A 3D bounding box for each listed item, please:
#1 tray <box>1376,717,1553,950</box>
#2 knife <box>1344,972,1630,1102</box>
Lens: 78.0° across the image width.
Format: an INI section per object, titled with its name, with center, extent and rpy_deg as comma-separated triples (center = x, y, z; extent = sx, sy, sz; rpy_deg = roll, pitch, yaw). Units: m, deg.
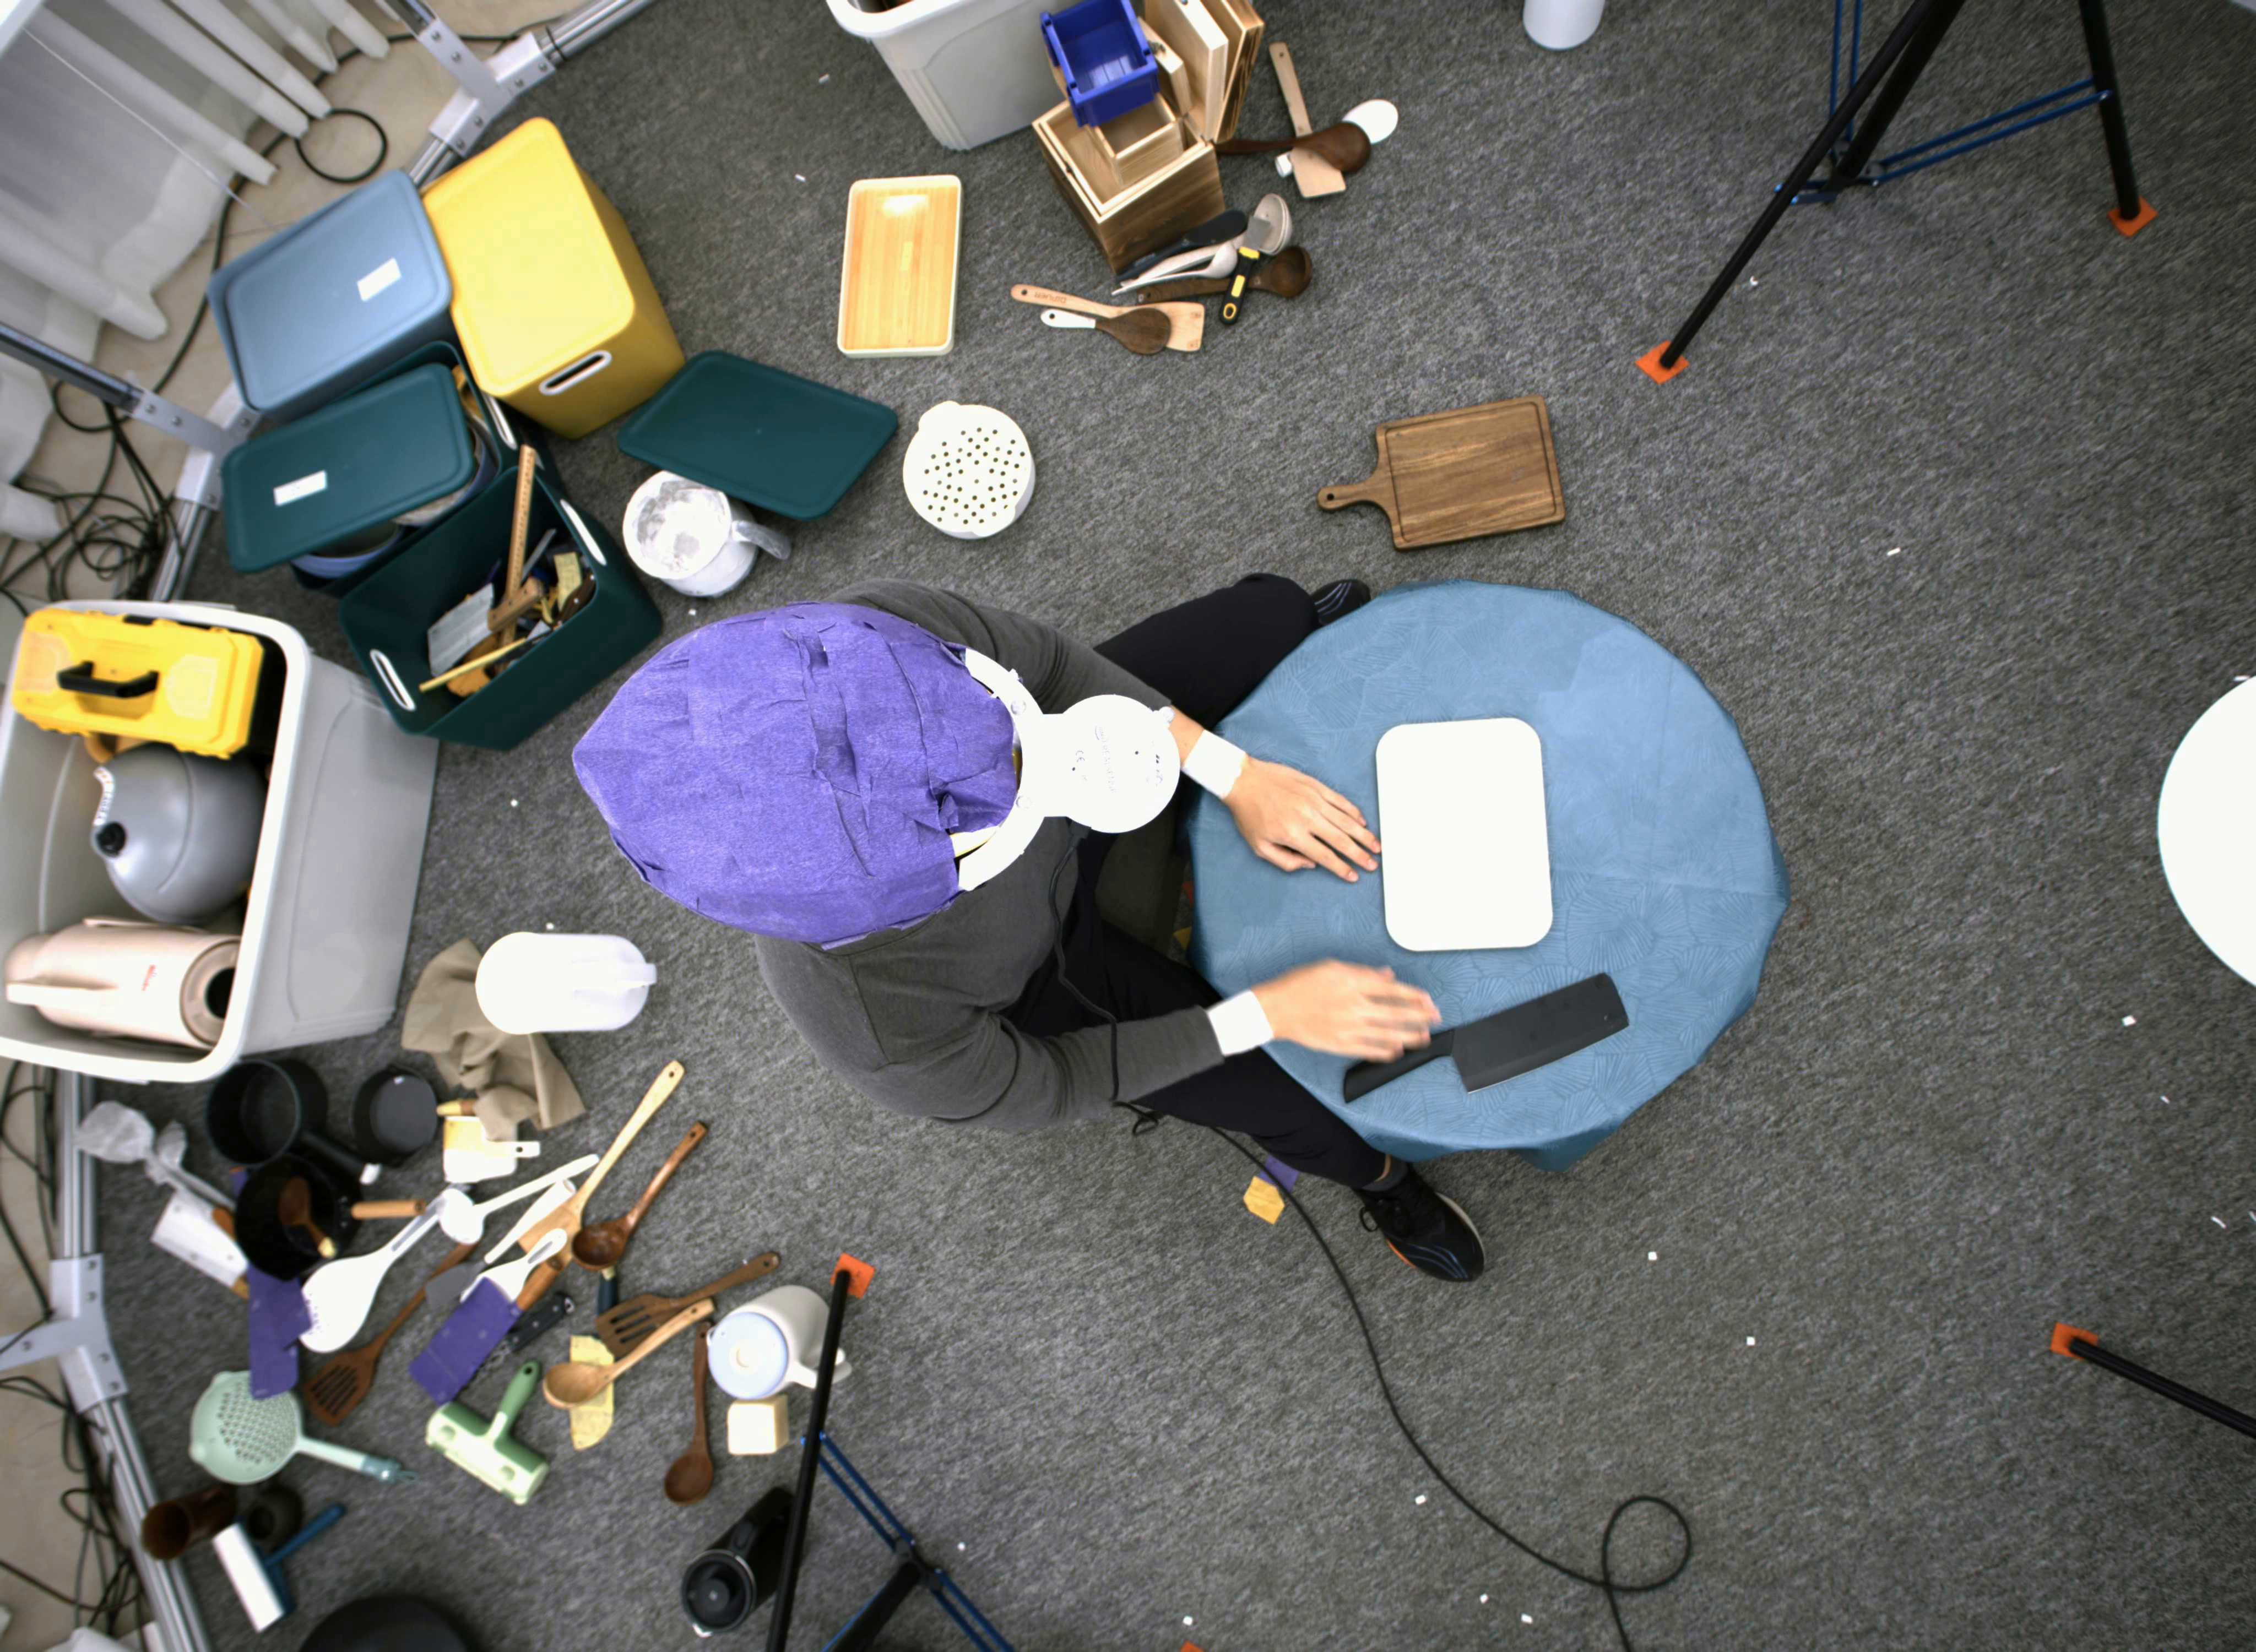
[tray]
center = 0.351, 0.006, 1.440
extent = 0.172, 0.017, 0.238
rpy_deg = -3, 86, 11
[knife]
center = 0.367, 0.227, 1.426
extent = 0.304, 0.021, 0.080
rpy_deg = -18, 85, 7
